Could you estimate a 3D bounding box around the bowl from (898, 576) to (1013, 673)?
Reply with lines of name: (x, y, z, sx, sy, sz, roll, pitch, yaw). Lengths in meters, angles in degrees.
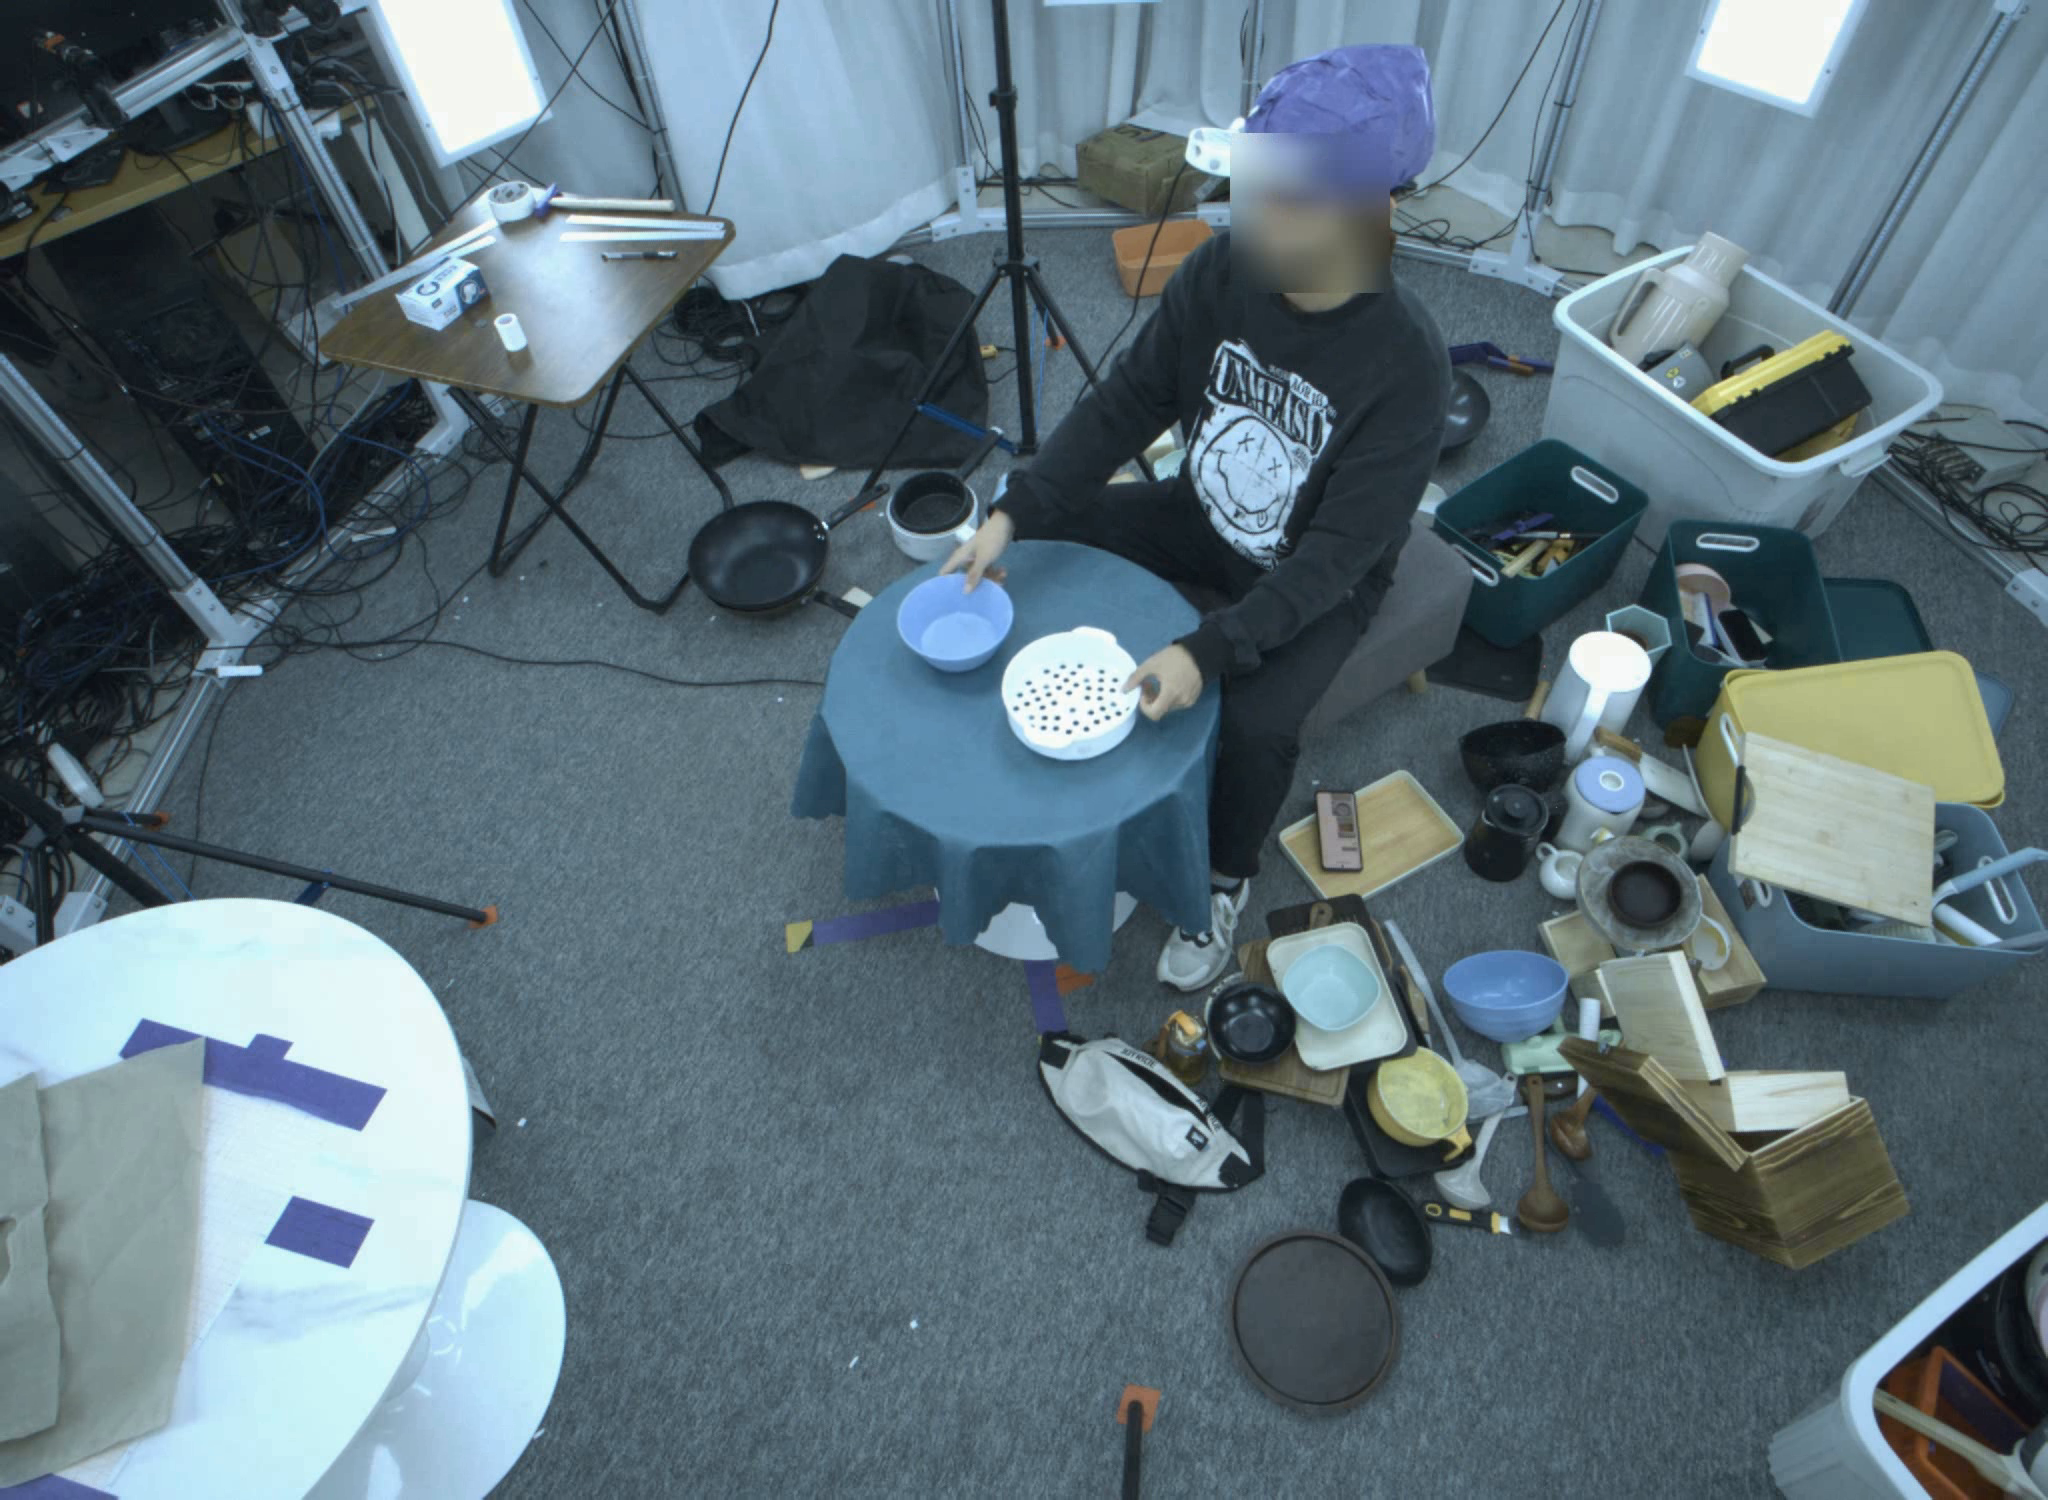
bowl: (-0.103, -0.183, 1.886, 0.176, 0.071, 0.174, 0, 56, 1)

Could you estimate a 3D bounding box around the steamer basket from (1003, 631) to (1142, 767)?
steamer basket: (0.072, -0.069, 1.802, 0.200, 0.070, 0.230, 16, 59, 13)
